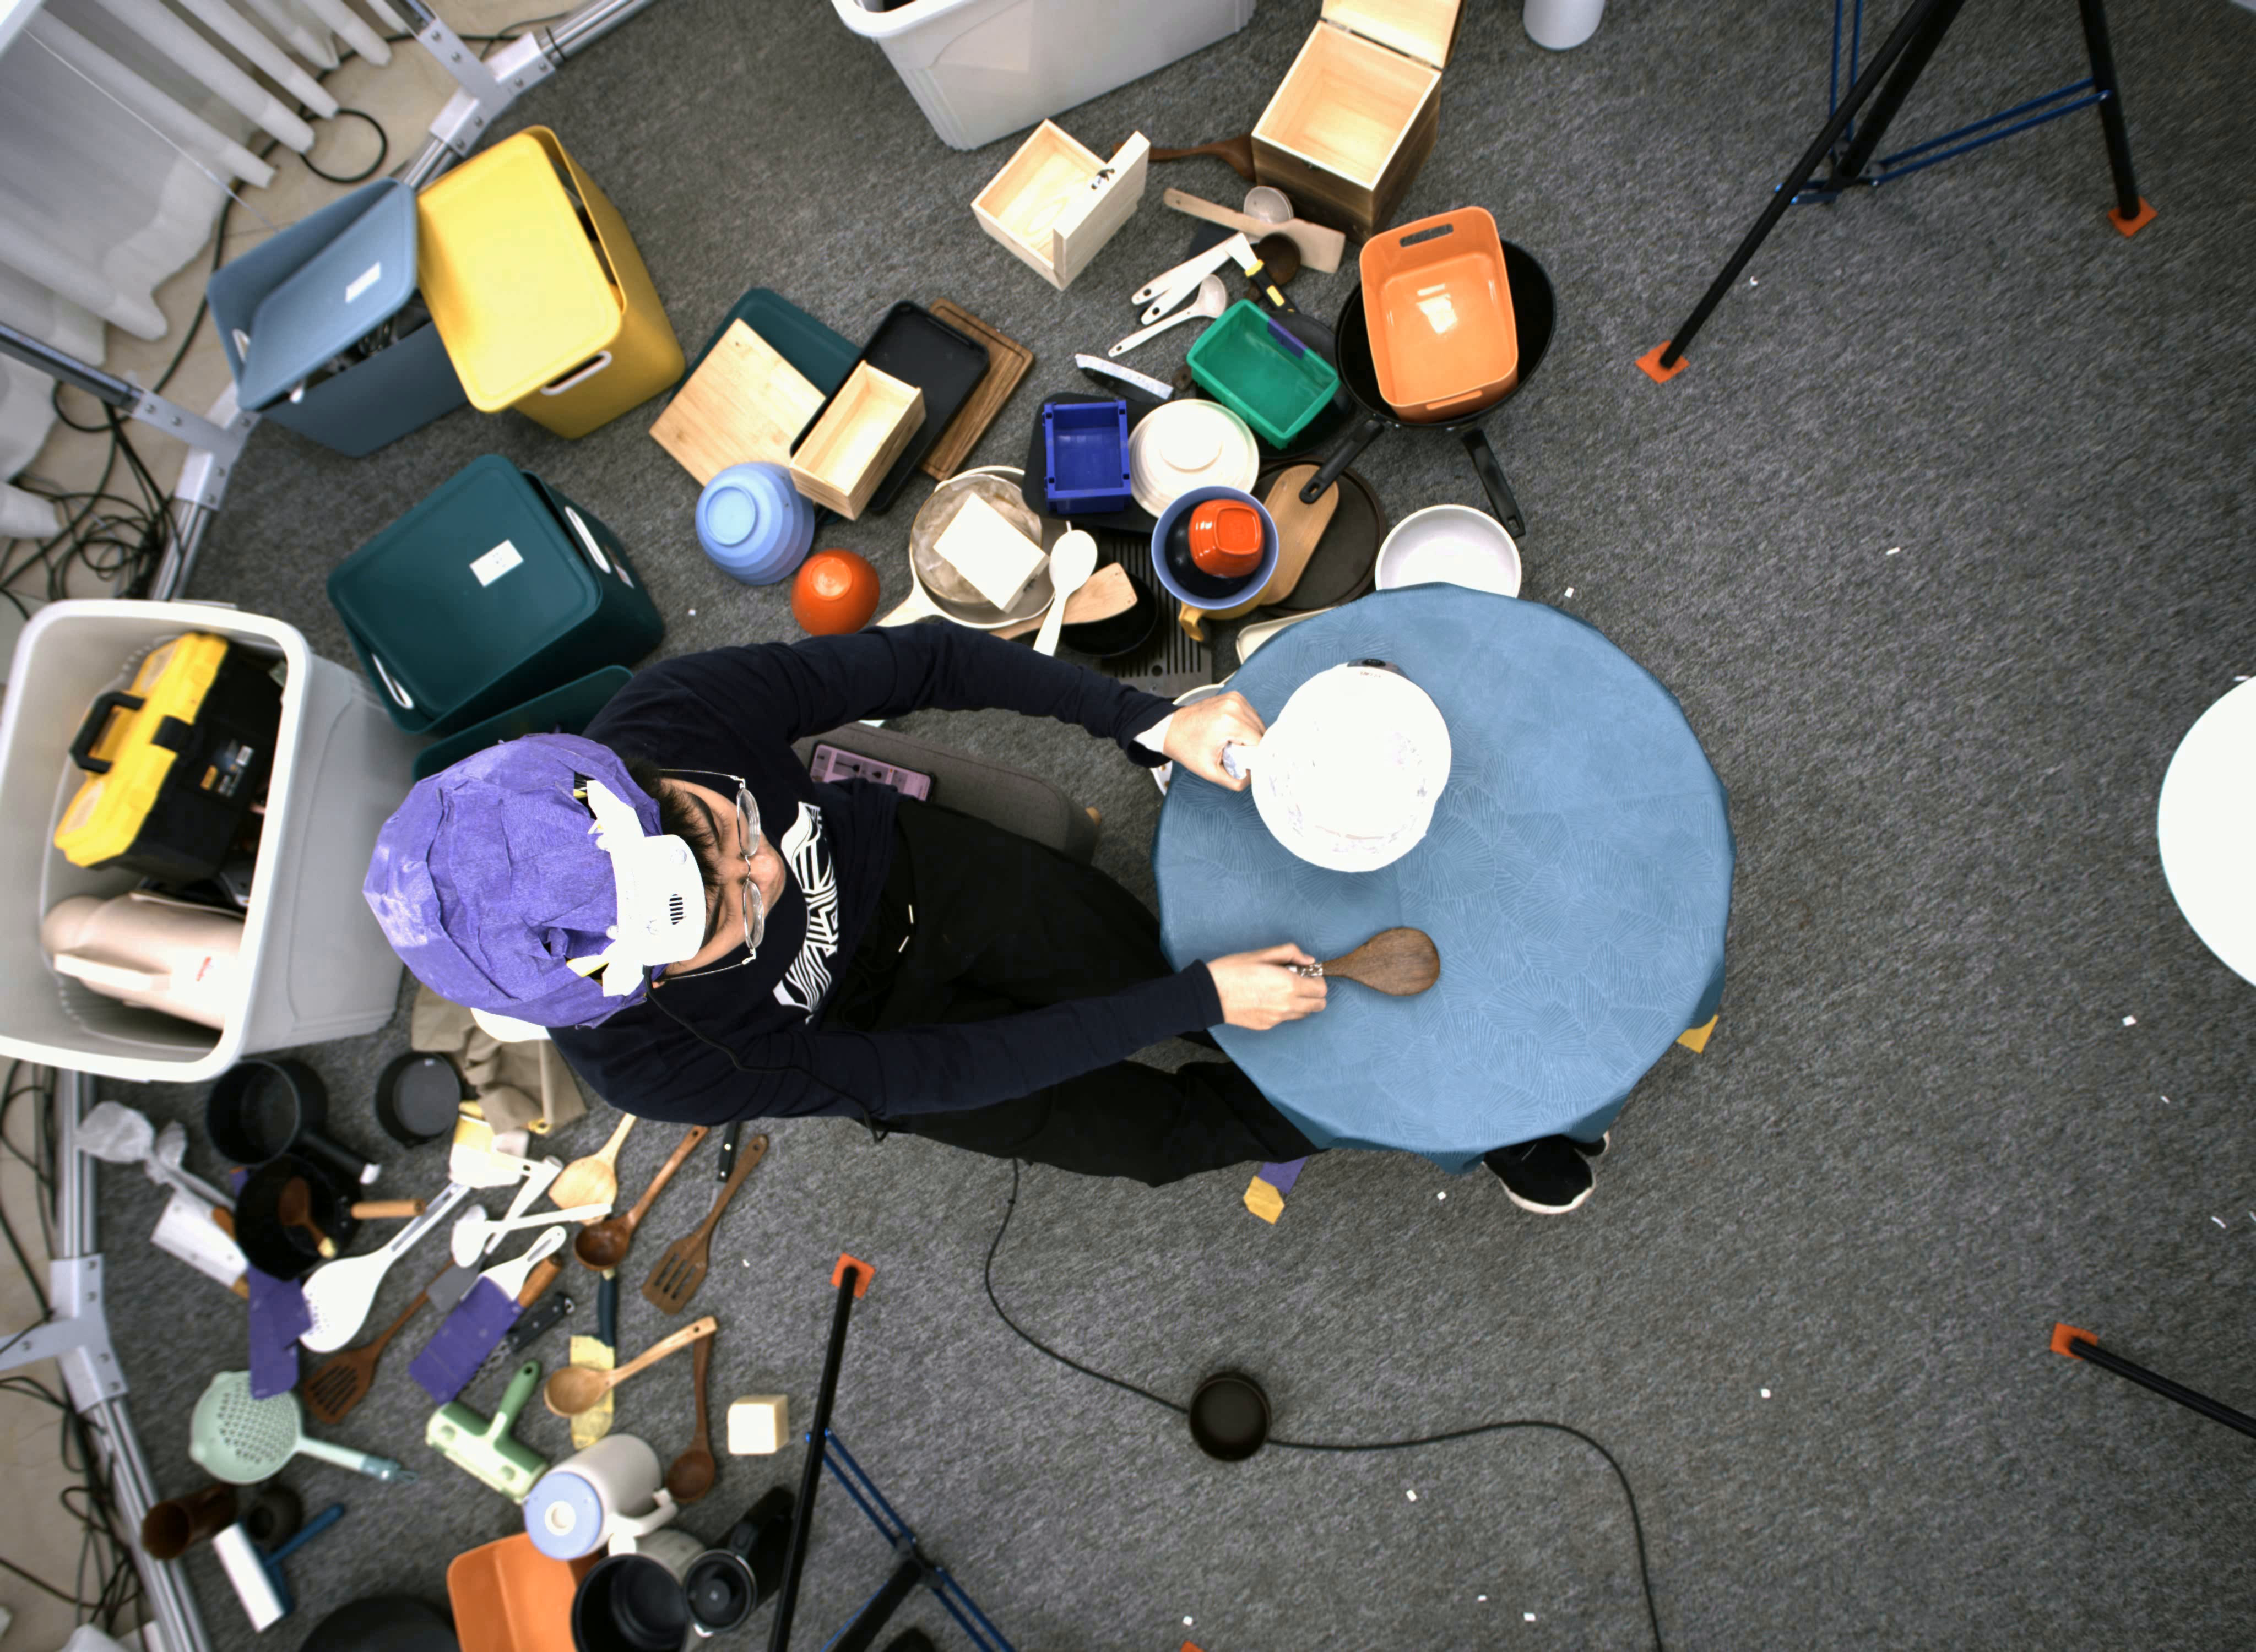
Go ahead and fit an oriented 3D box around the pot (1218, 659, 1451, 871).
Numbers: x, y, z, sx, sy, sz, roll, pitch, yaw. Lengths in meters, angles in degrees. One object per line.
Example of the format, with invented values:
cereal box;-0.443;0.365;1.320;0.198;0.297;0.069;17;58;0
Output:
pot;0.197;-0.066;1.357;0.234;0.133;0.182;7;116;18

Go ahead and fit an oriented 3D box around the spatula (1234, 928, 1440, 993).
spatula;0.218;0.146;1.447;0.216;0.009;0.070;-5;68;5
